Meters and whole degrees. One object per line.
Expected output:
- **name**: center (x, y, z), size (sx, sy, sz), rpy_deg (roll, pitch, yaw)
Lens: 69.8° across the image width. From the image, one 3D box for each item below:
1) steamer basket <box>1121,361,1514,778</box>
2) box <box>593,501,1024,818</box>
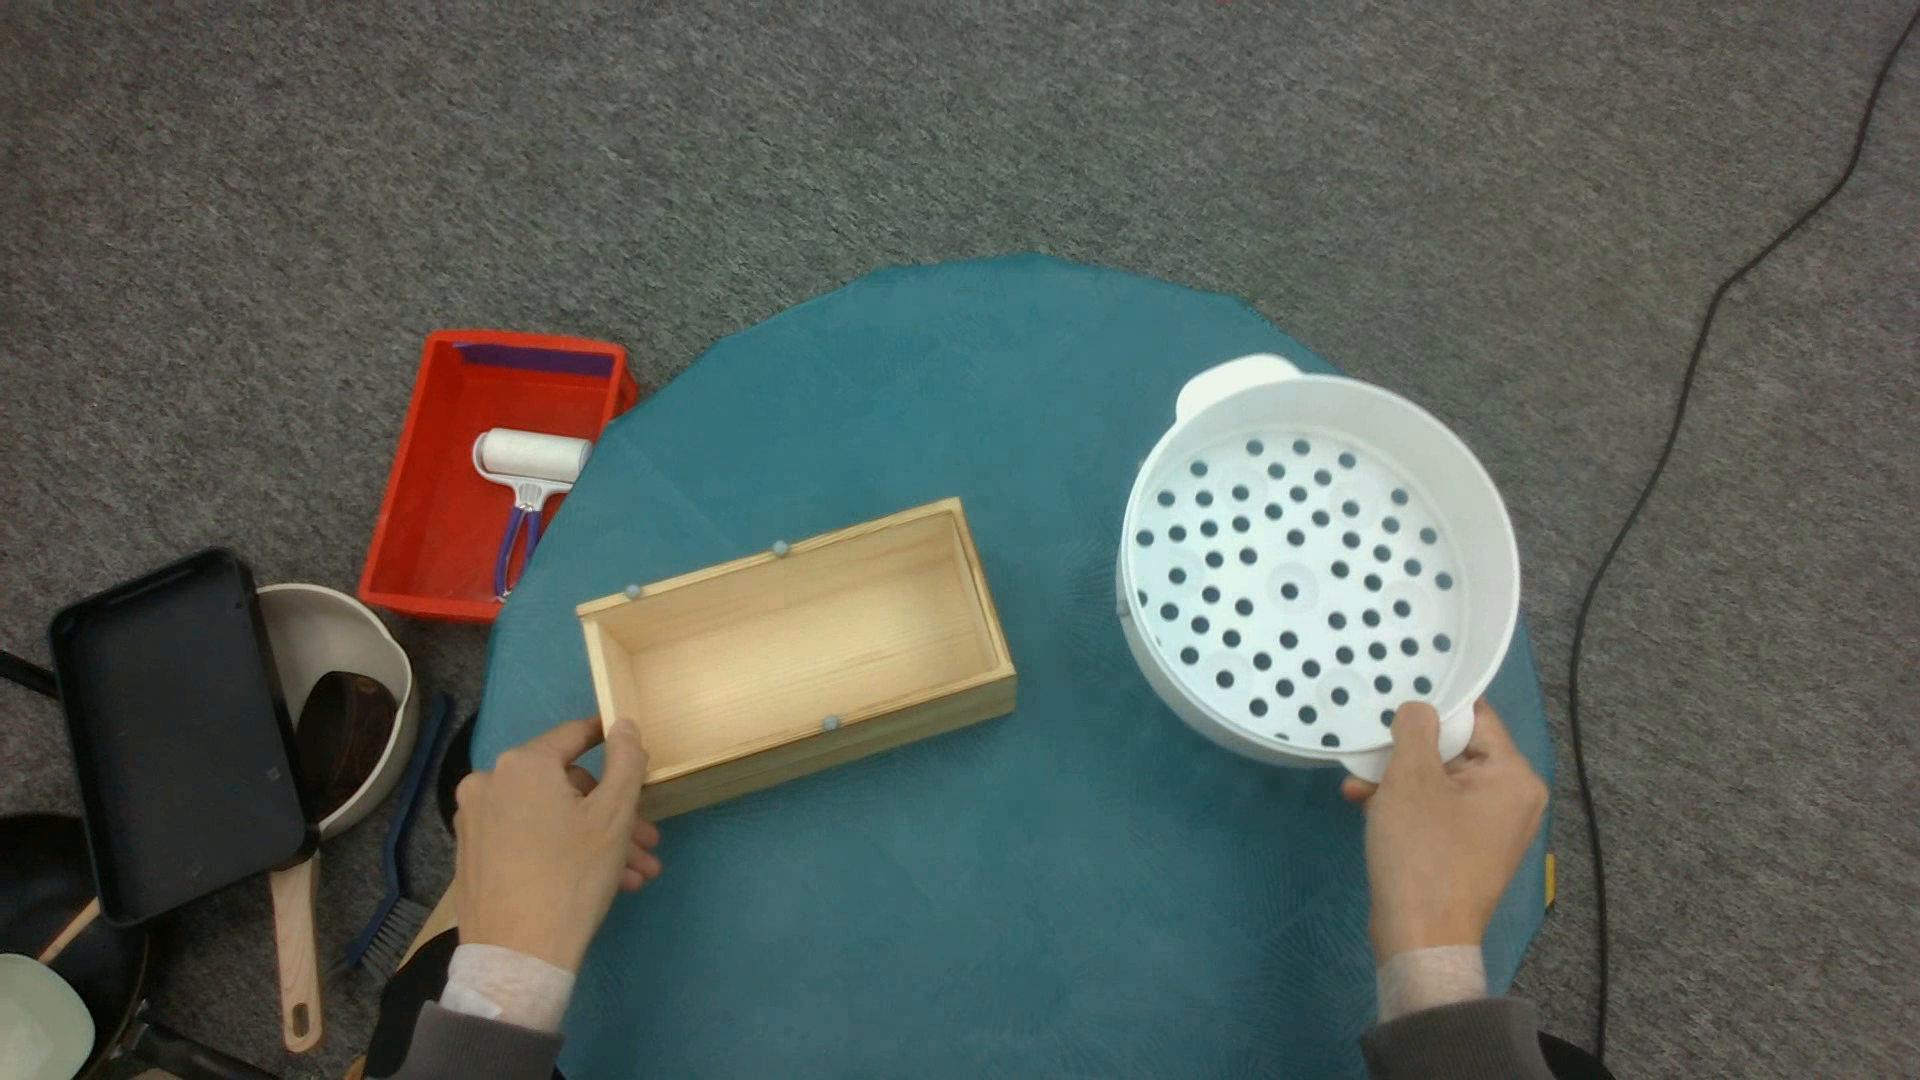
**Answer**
- **steamer basket**: center (0.185, 0.018, 0.738), size (0.202, 0.069, 0.231), rpy_deg (-21, 73, -7)
- **box**: center (-0.080, 0.068, 0.763), size (0.211, 0.080, 0.108), rpy_deg (-17, 69, -4)
